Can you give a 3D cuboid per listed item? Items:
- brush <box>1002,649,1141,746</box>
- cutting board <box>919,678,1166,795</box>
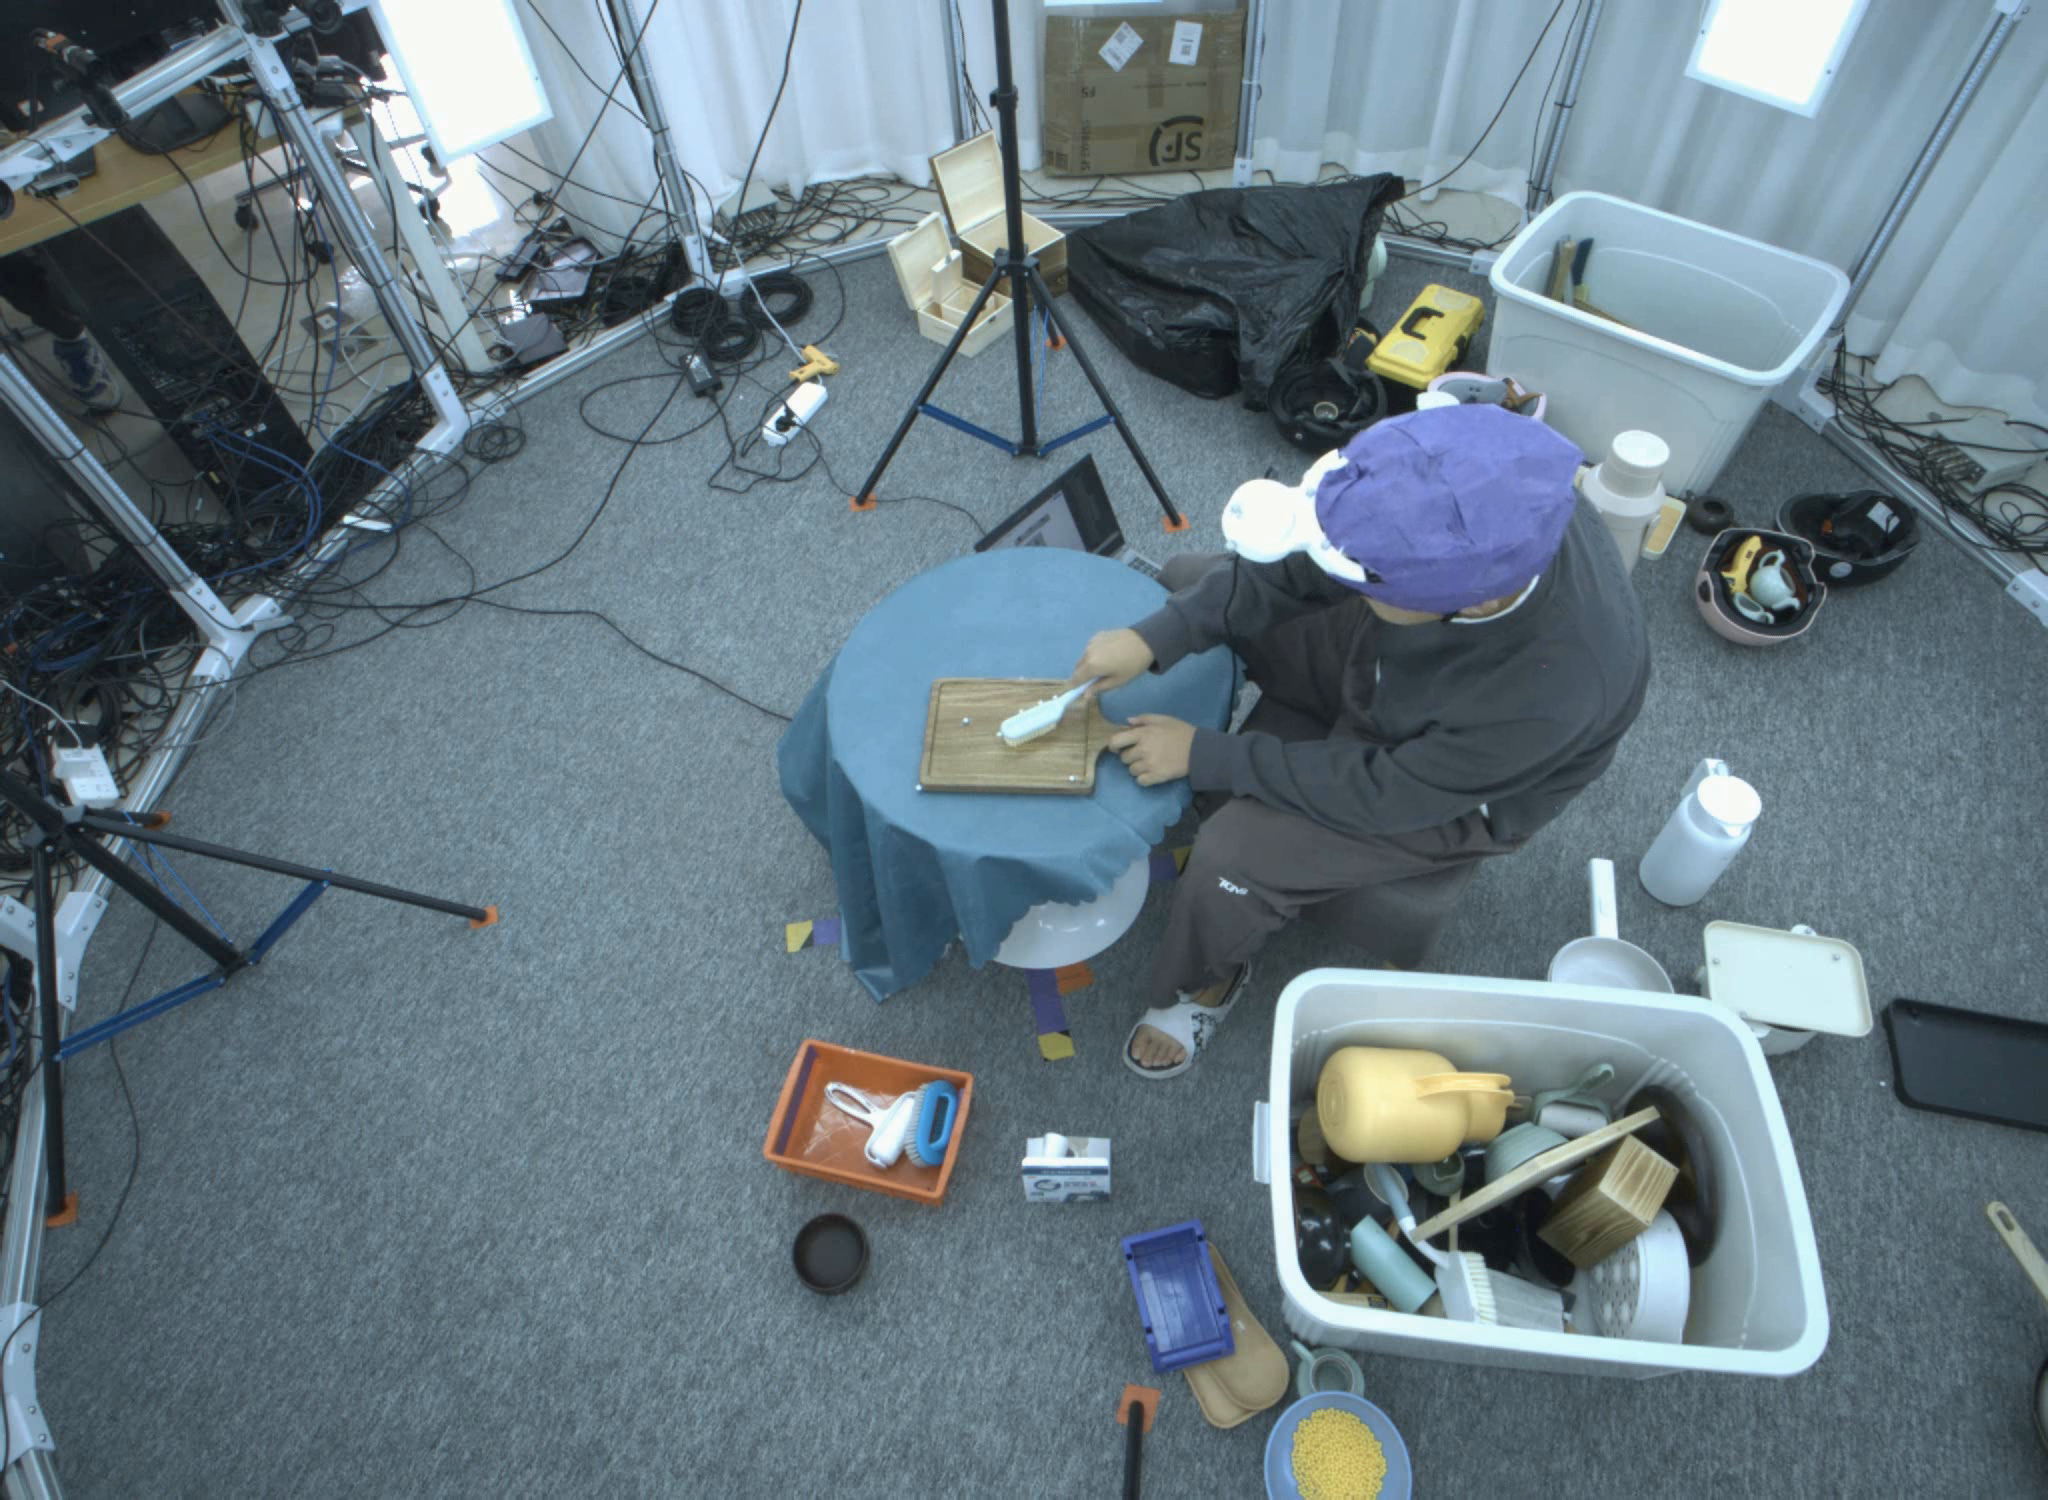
[{"bbox_3d":[0.070,-0.078,1.778,0.229,0.050,0.037,-35,58,-4],"label":"brush"},{"bbox_3d":[0.030,-0.021,1.789,0.351,0.023,0.199,2,55,2],"label":"cutting board"}]
